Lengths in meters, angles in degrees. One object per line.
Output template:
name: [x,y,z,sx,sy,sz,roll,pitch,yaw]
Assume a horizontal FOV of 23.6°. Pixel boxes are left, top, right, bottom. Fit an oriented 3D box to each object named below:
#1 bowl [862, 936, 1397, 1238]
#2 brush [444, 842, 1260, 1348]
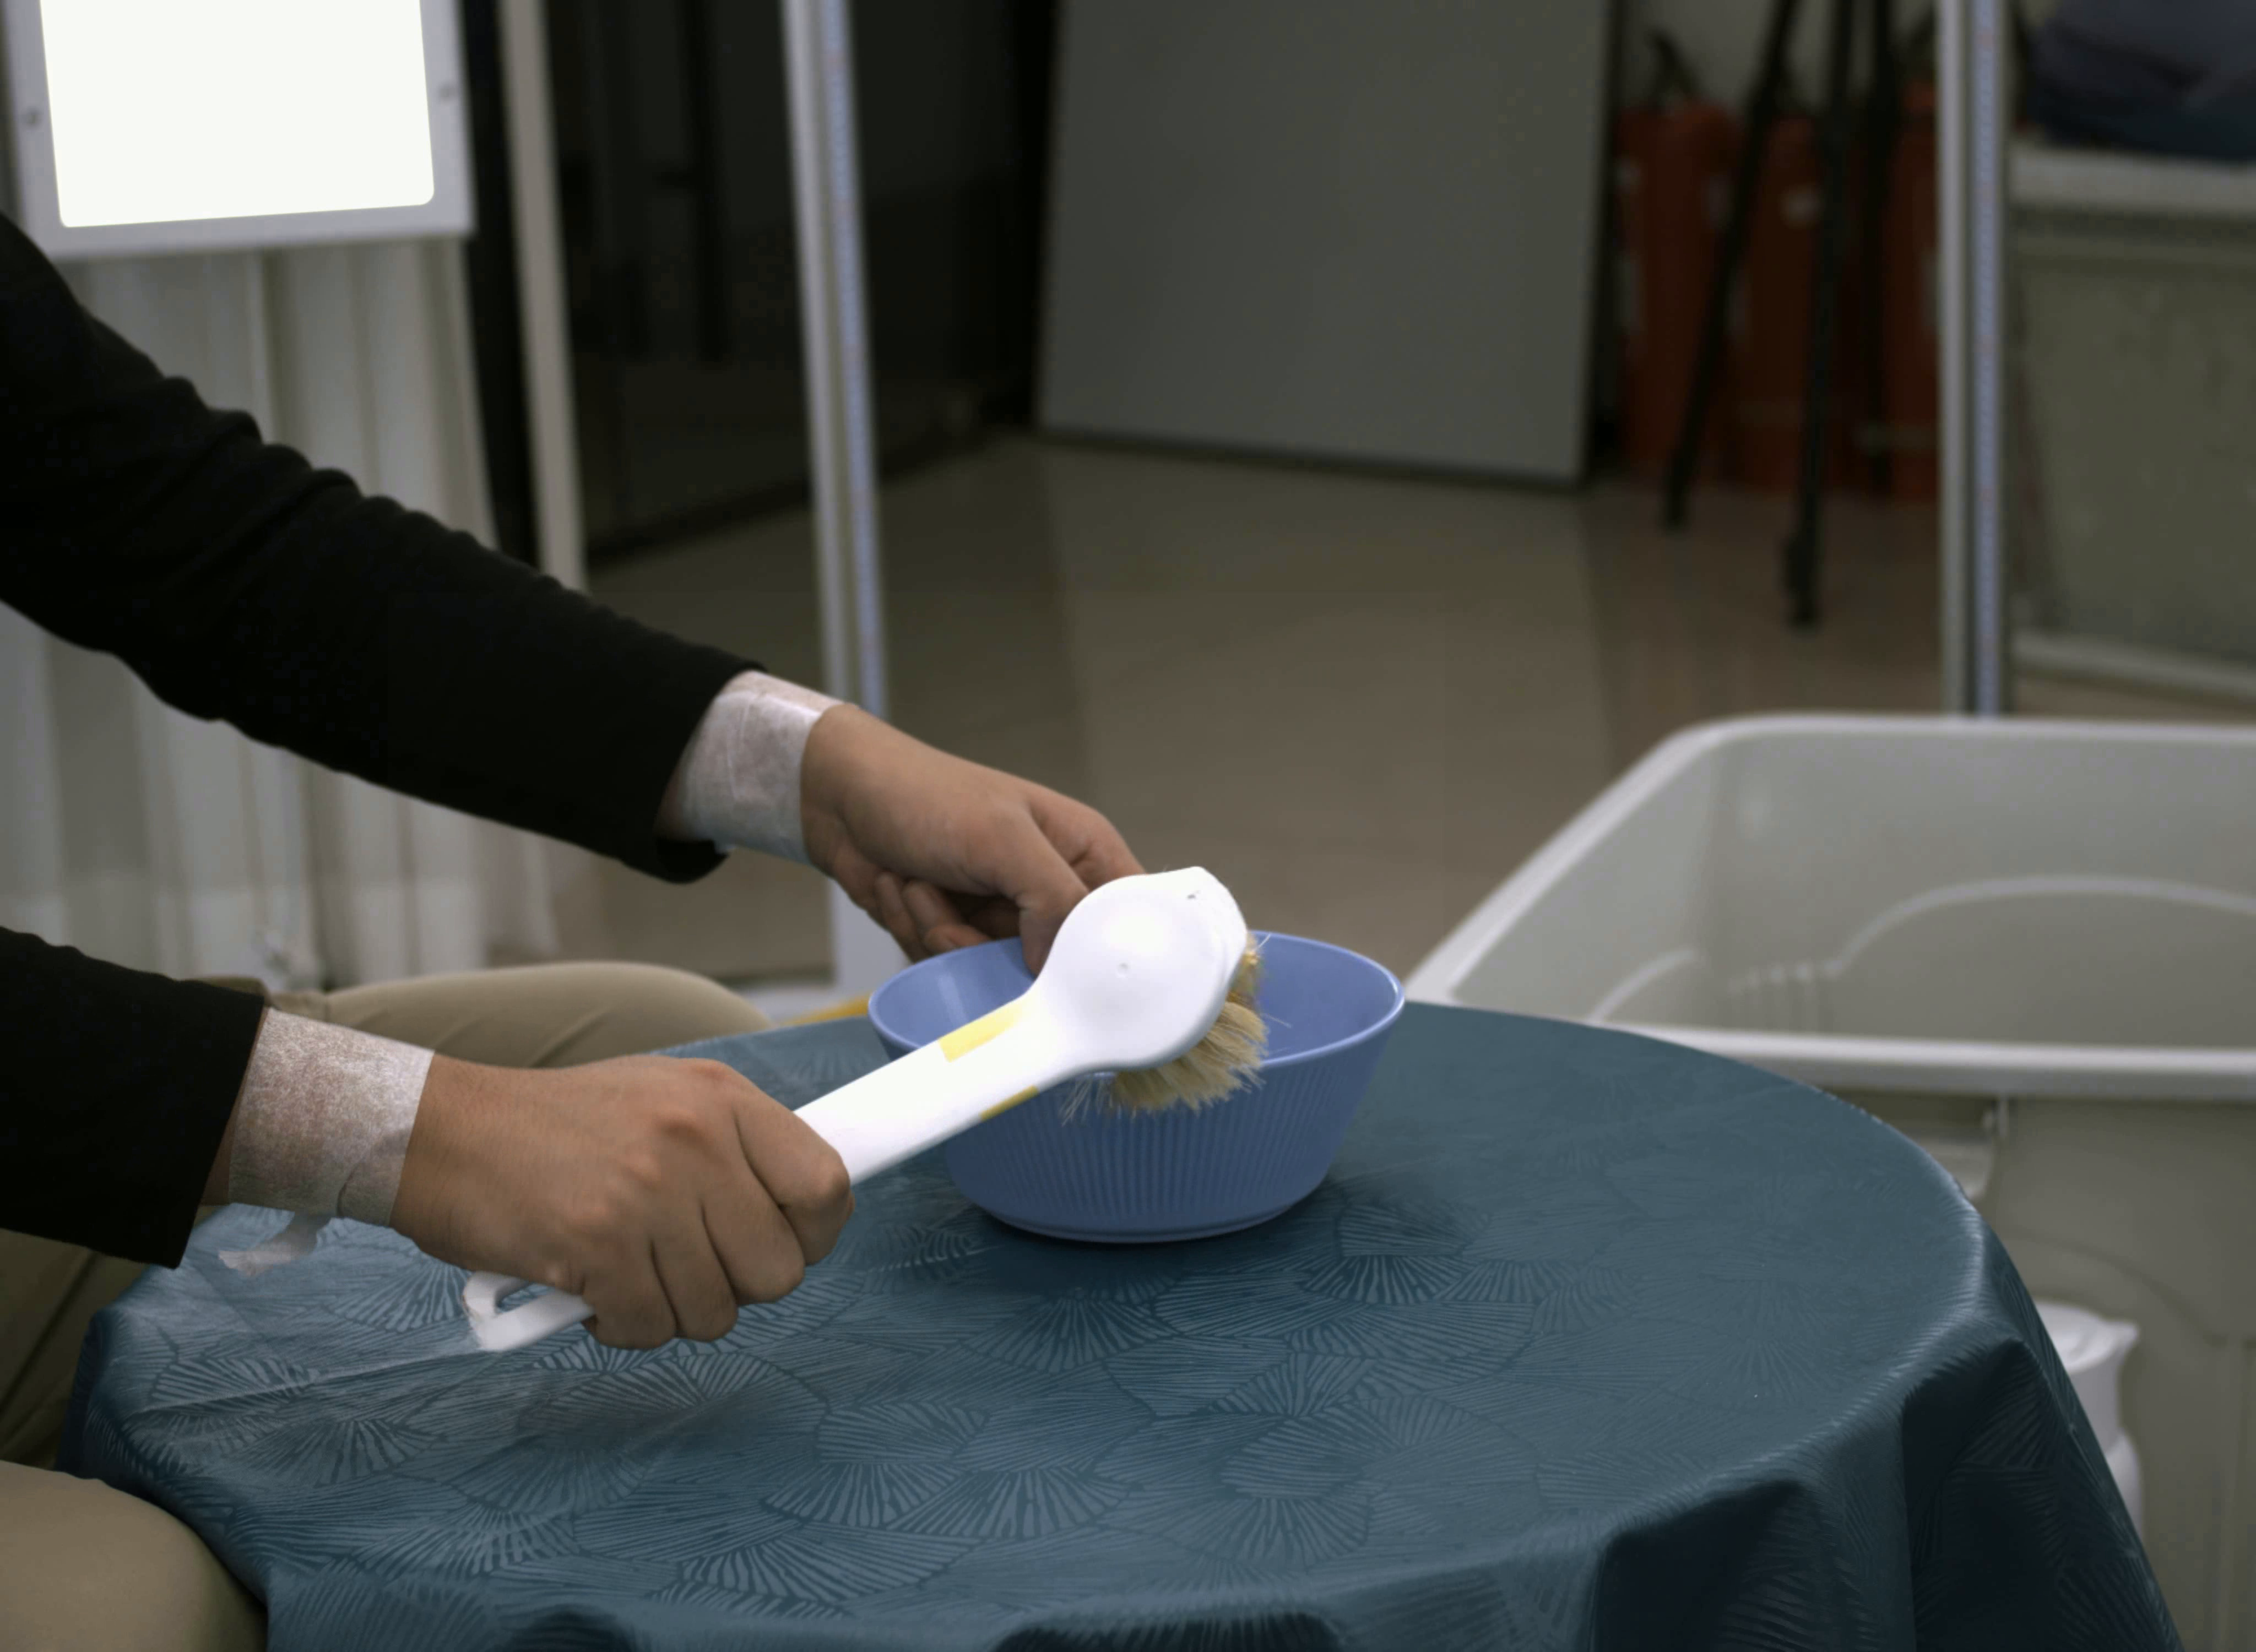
bowl: [0.001,0.086,1.753,0.174,0.071,0.176,-2,13,-1]
brush: [-0.080,0.091,1.599,0.264,0.056,0.069,-31,54,-8]
